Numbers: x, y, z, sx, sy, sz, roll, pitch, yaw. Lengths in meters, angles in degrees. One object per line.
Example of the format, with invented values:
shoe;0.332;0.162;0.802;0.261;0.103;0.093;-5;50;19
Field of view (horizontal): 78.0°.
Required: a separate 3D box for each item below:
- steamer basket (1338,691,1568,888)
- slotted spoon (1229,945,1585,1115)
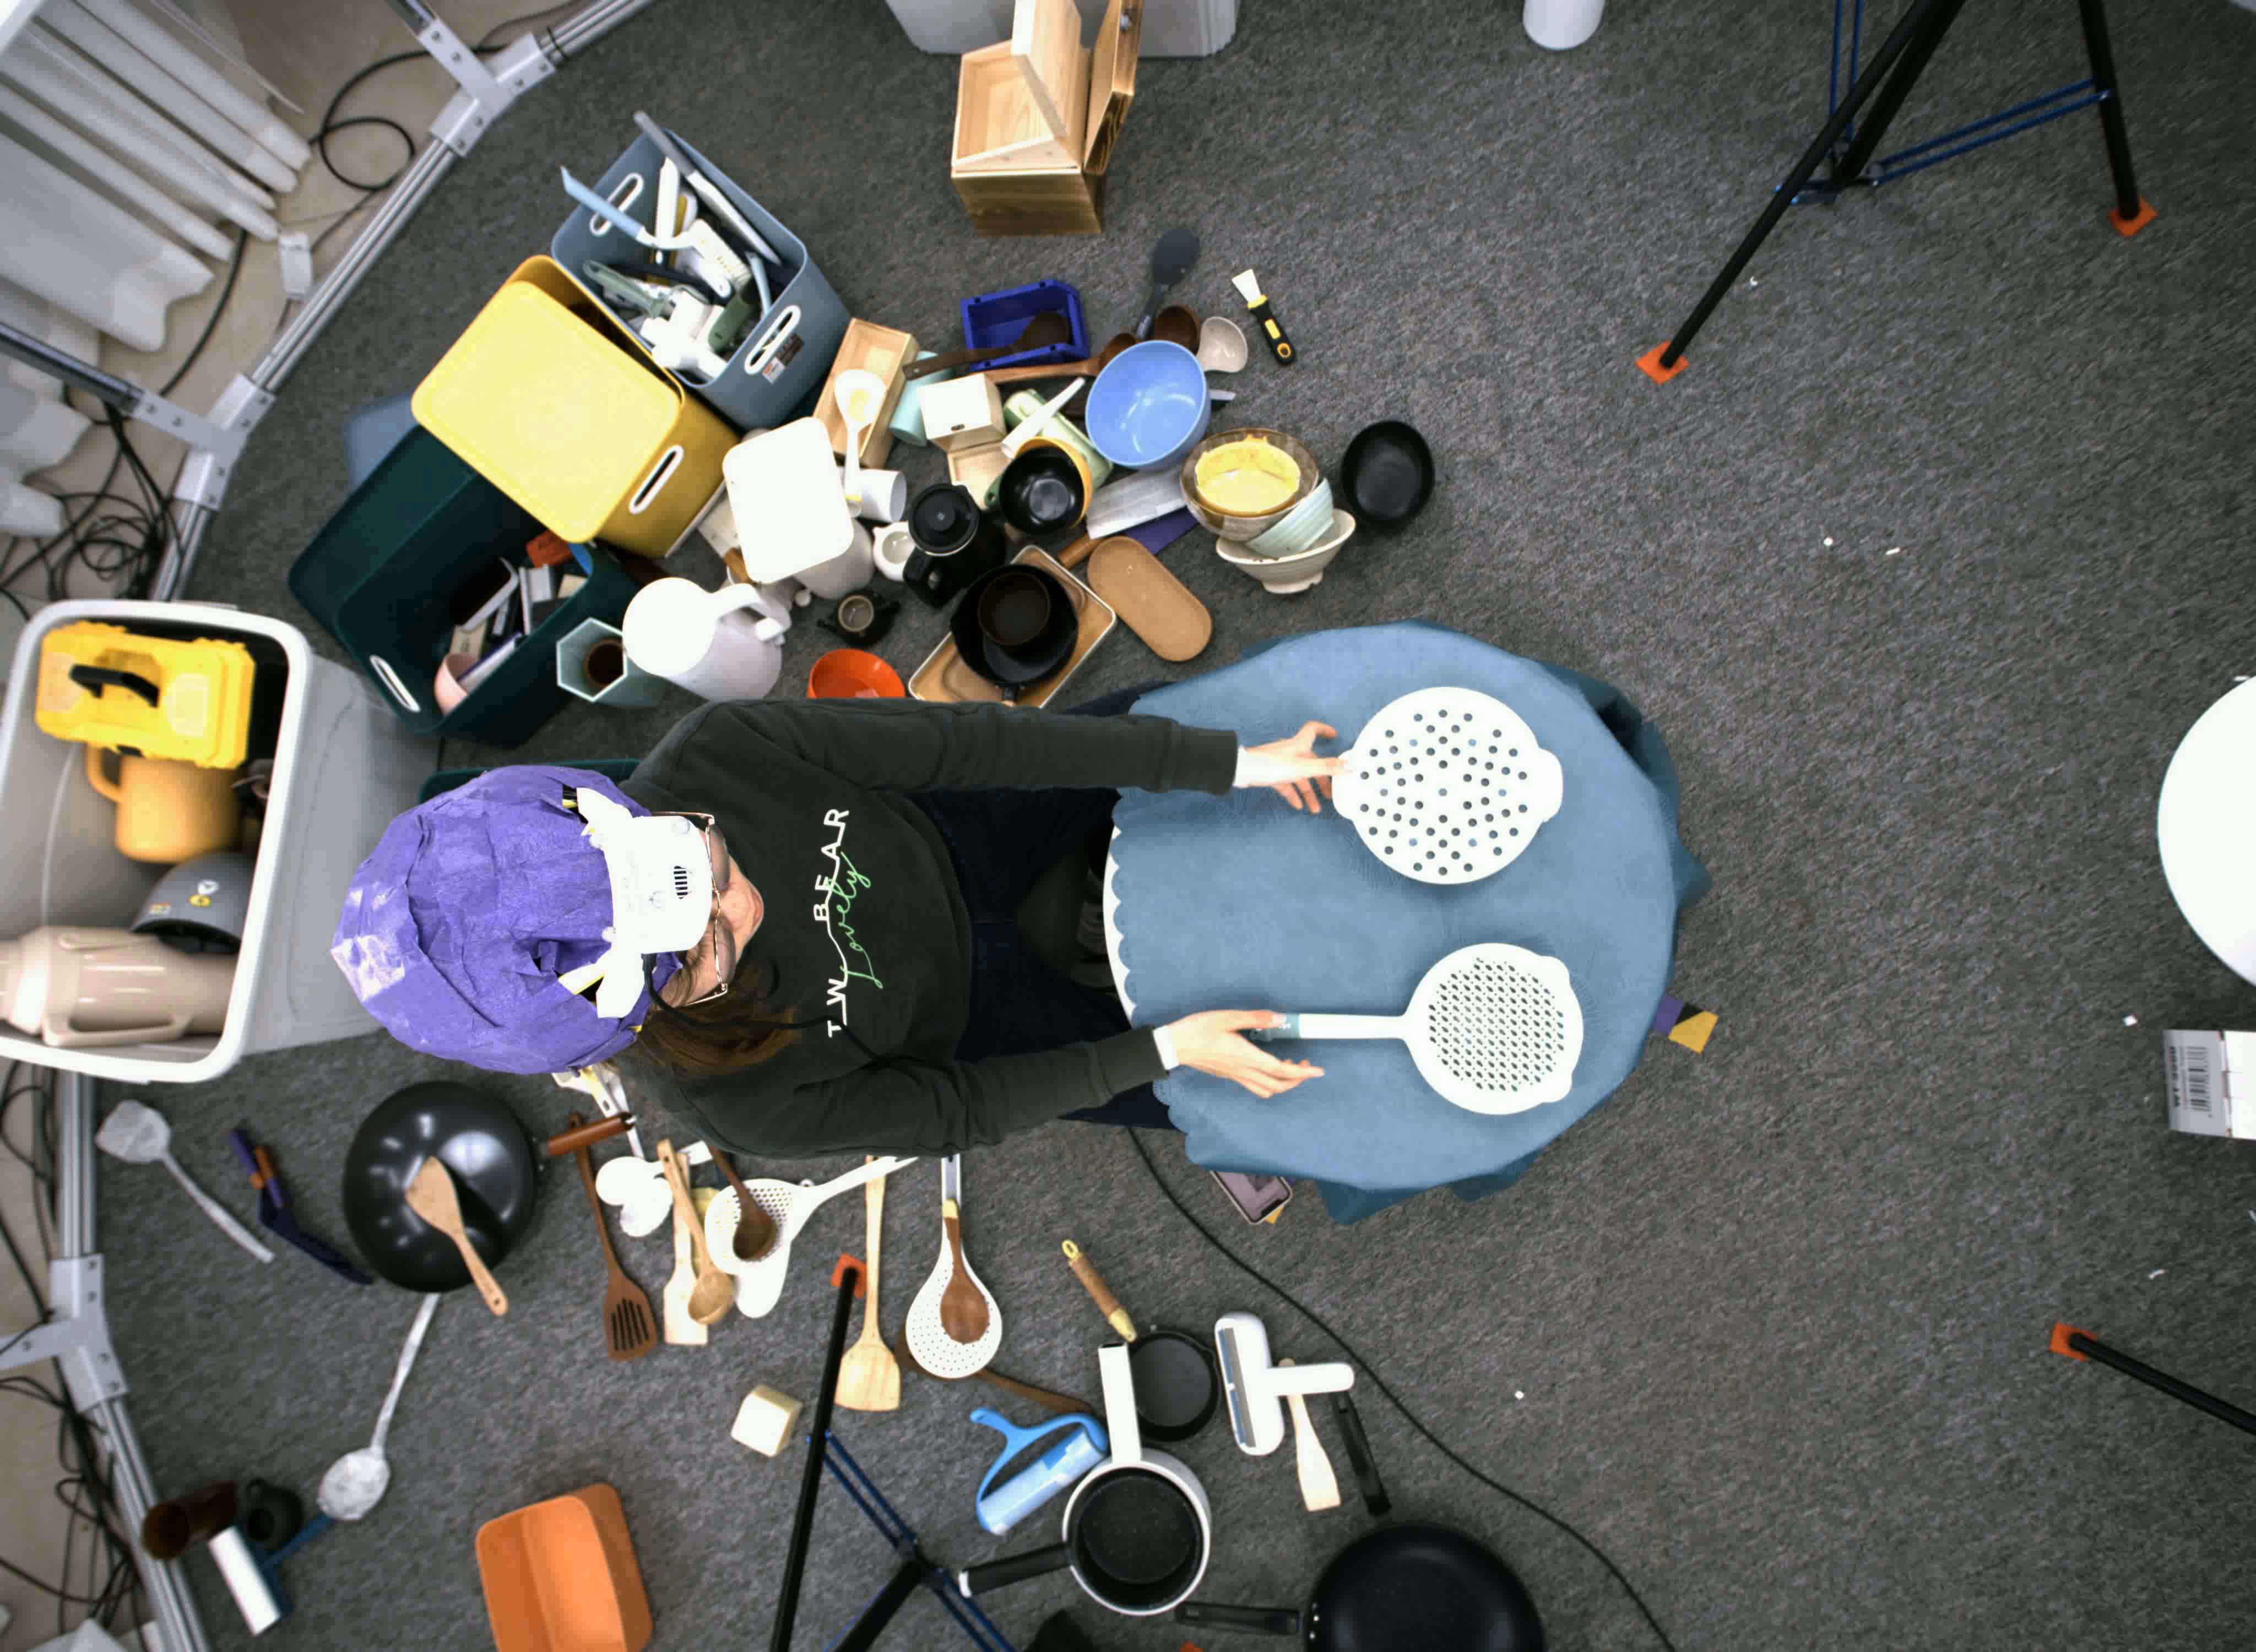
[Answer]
steamer basket;0.335;-0.038;1.428;0.231;0.069;0.200;-1;85;11
slotted spoon;0.279;0.206;1.421;0.360;0.075;0.168;-1;85;10
